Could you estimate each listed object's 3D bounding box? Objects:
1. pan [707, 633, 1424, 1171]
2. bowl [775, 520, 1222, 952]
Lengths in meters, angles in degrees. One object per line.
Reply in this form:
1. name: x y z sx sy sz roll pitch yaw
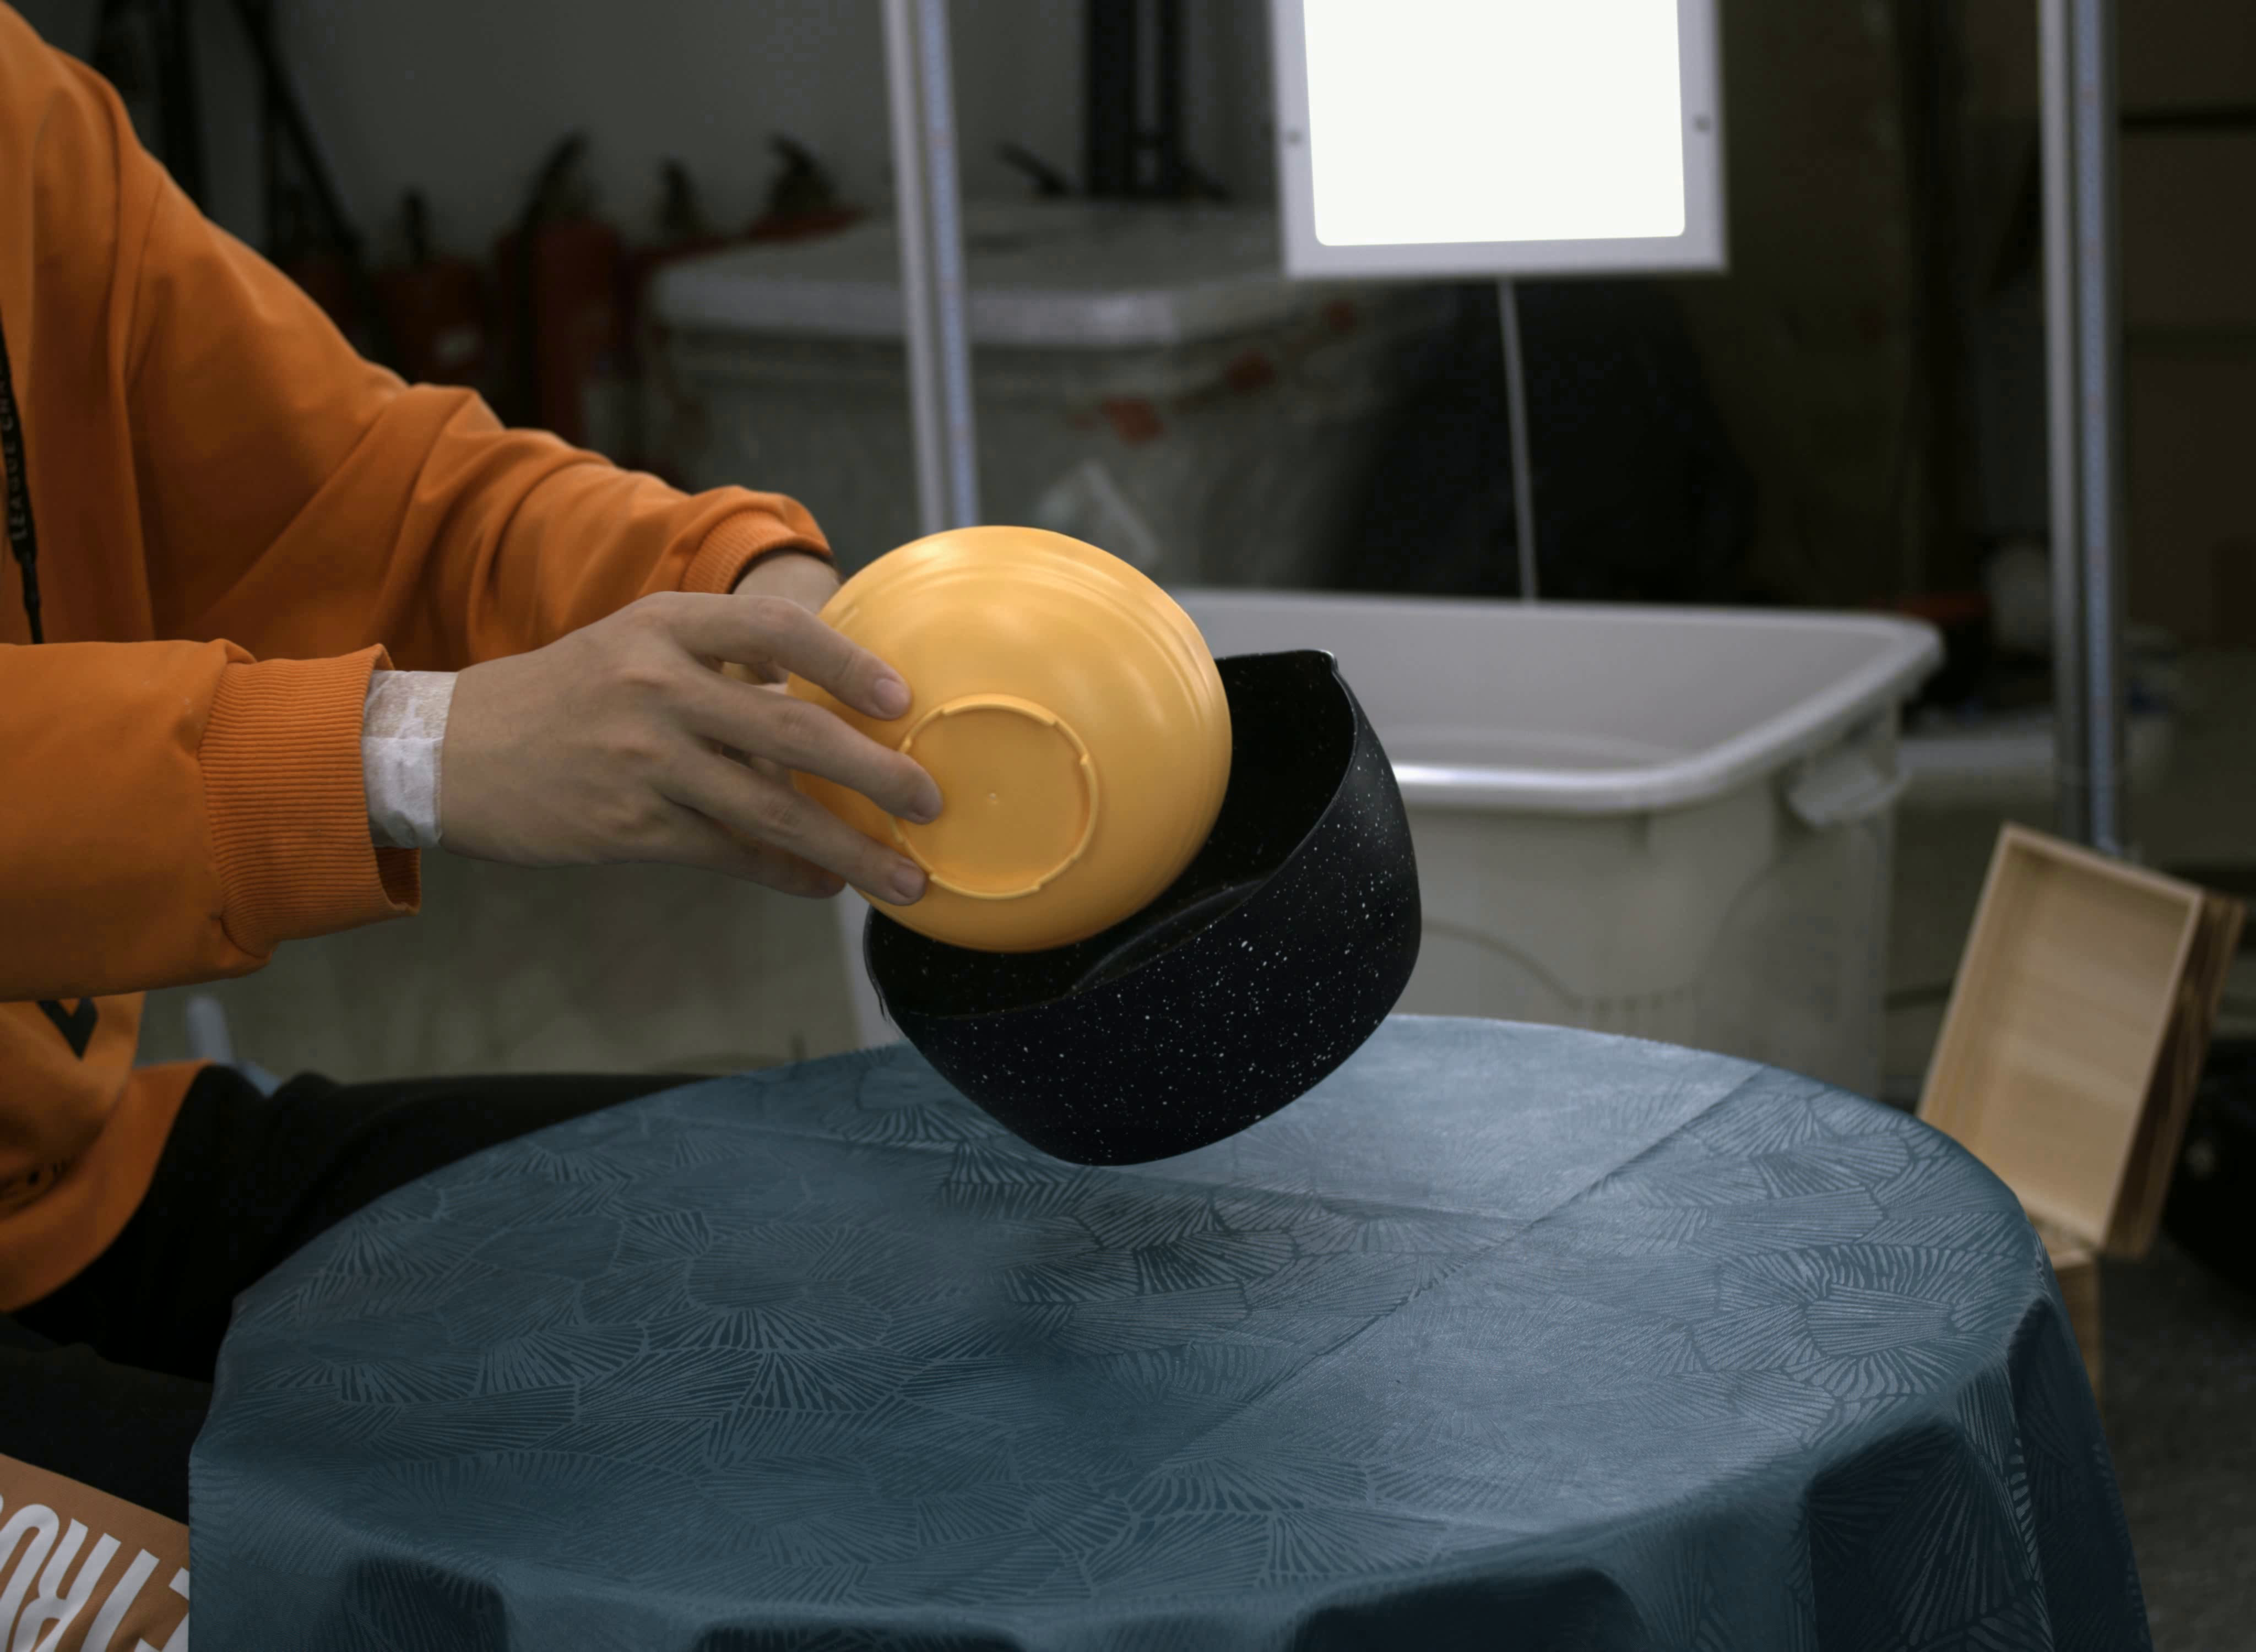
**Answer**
1. pan: -0.036 0.010 1.885 0.205 0.107 0.349 -43 30 -18
2. bowl: -0.044 -0.019 1.733 0.146 0.146 0.059 -2 21 8
